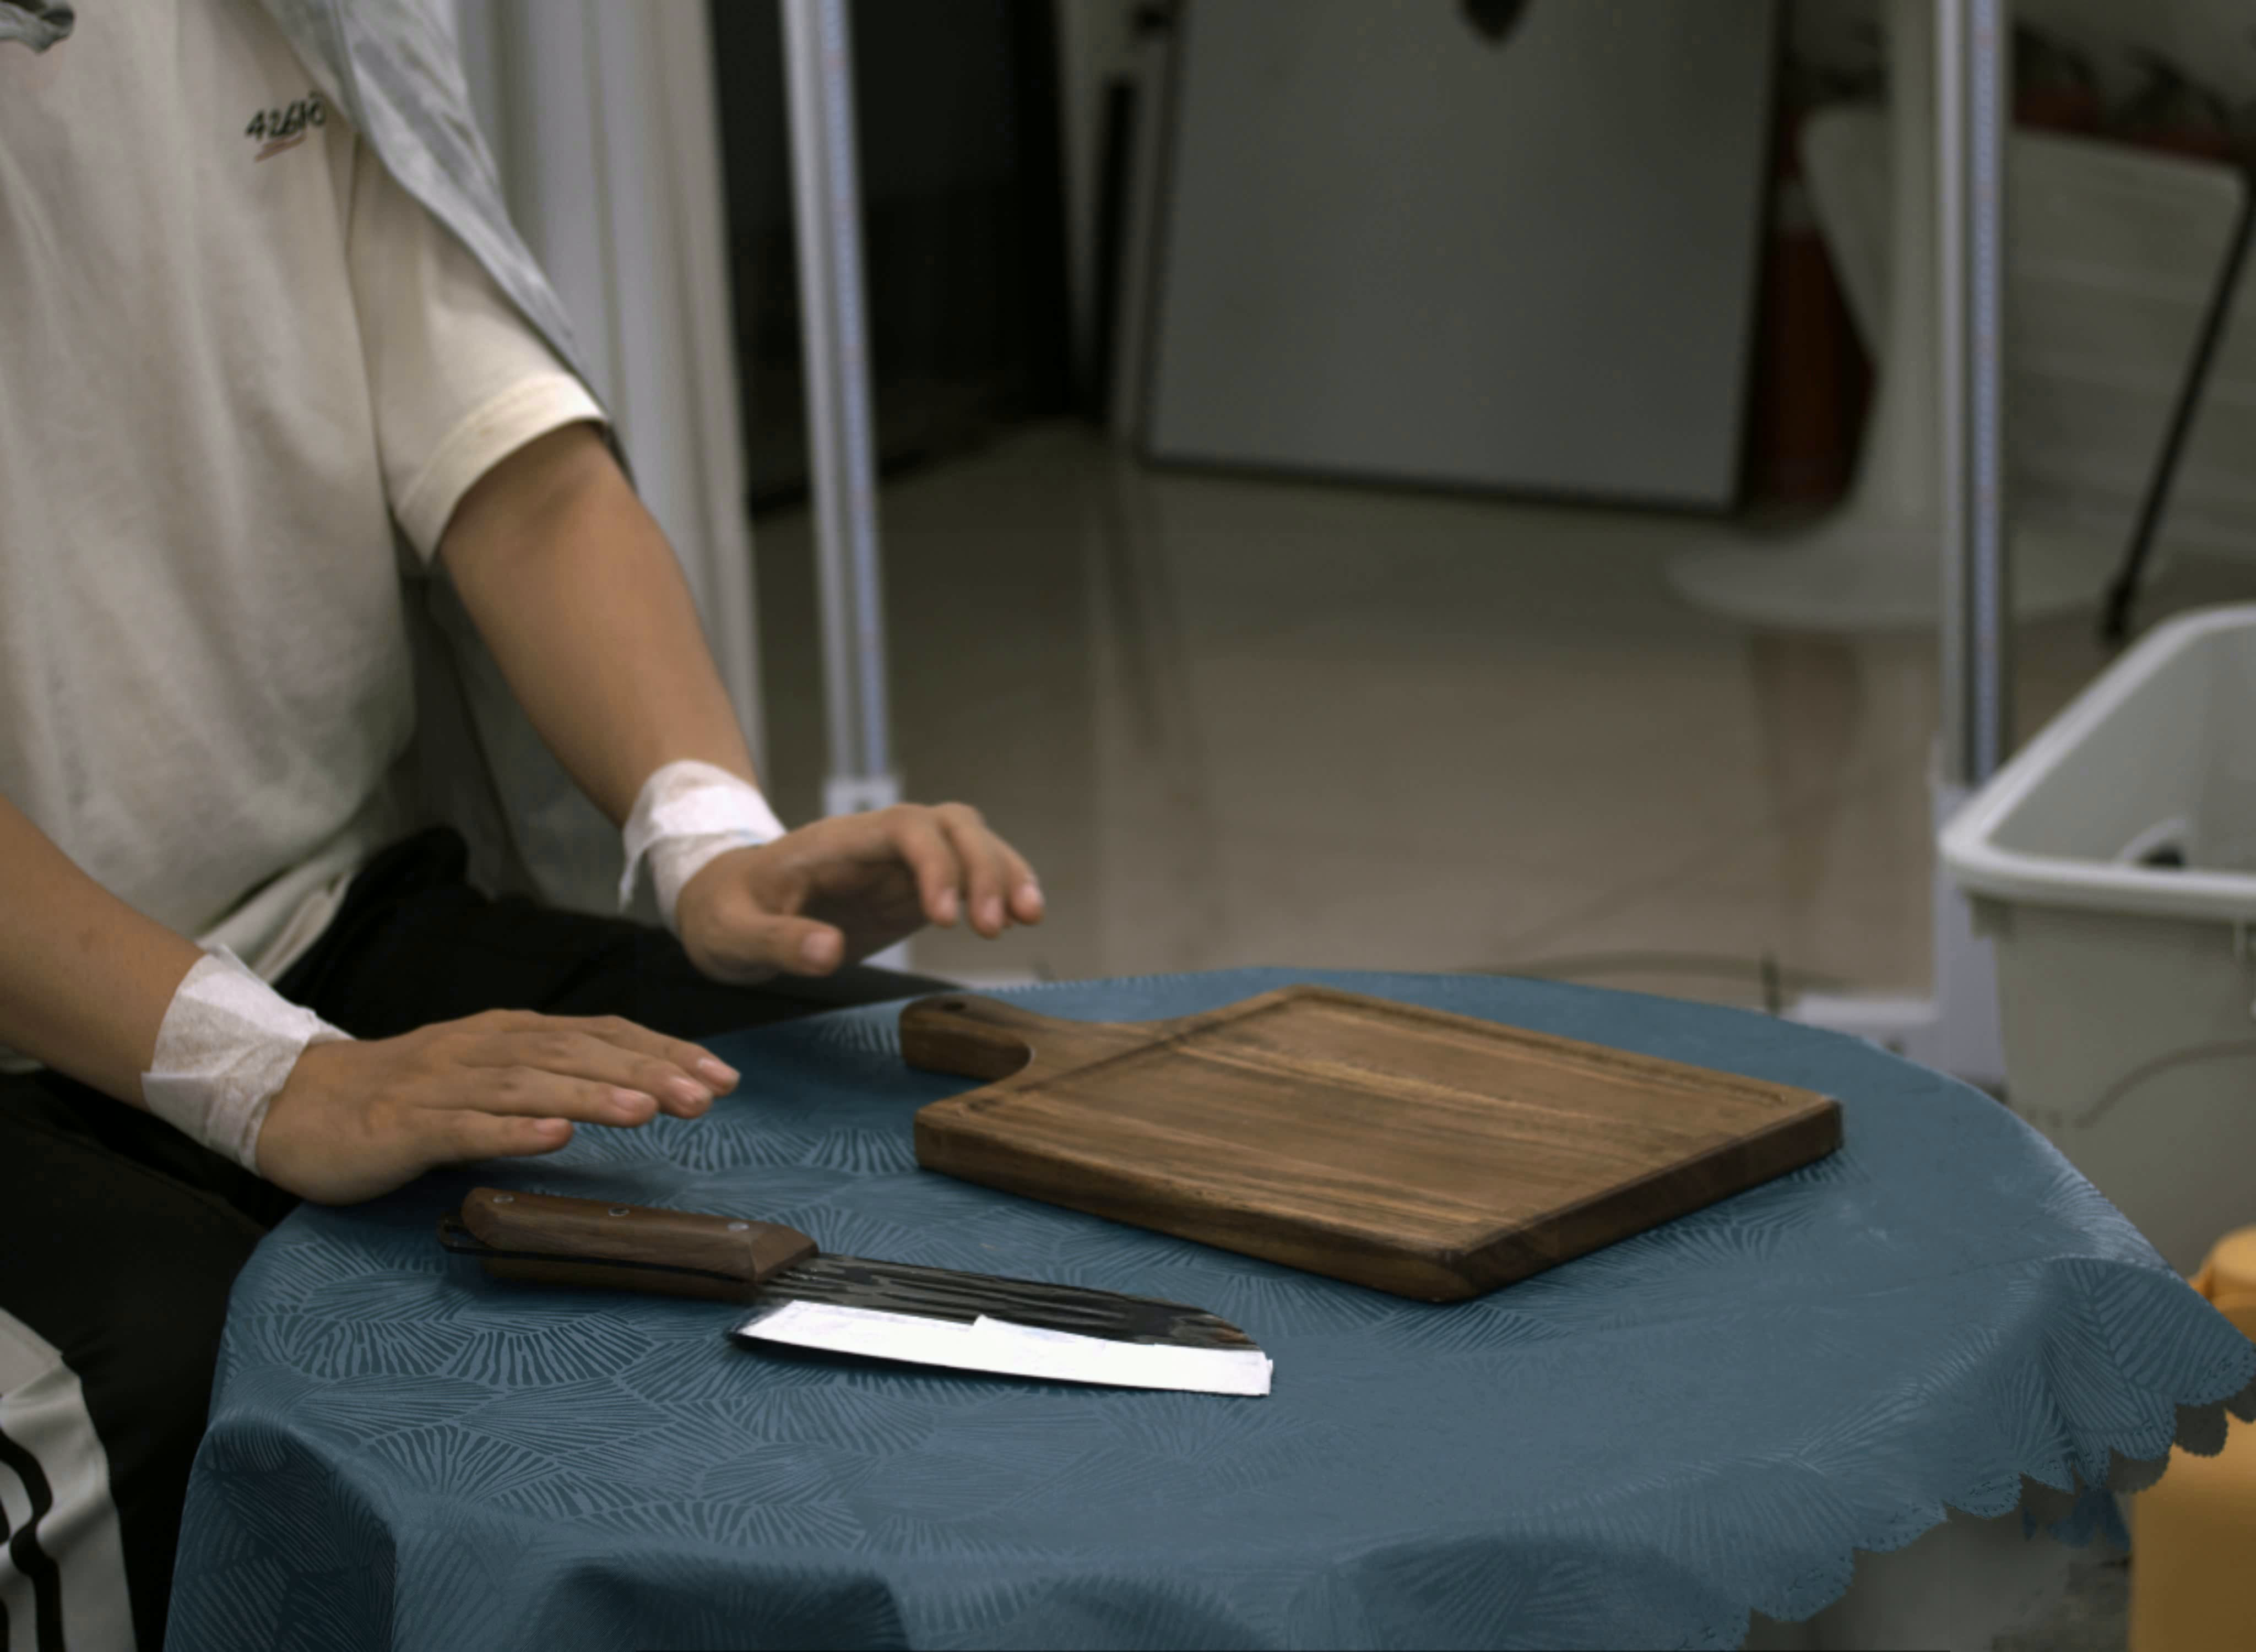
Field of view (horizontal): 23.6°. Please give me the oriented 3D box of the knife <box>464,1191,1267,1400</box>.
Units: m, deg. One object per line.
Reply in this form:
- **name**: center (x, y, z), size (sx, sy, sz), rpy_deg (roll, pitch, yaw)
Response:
- **knife**: center (-0.087, 0.147, 1.657), size (0.300, 0.024, 0.067), rpy_deg (6, 19, 26)

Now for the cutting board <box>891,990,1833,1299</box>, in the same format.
- **cutting board**: center (0.046, 0.096, 1.822), size (0.197, 0.023, 0.355), rpy_deg (-16, 18, -42)
